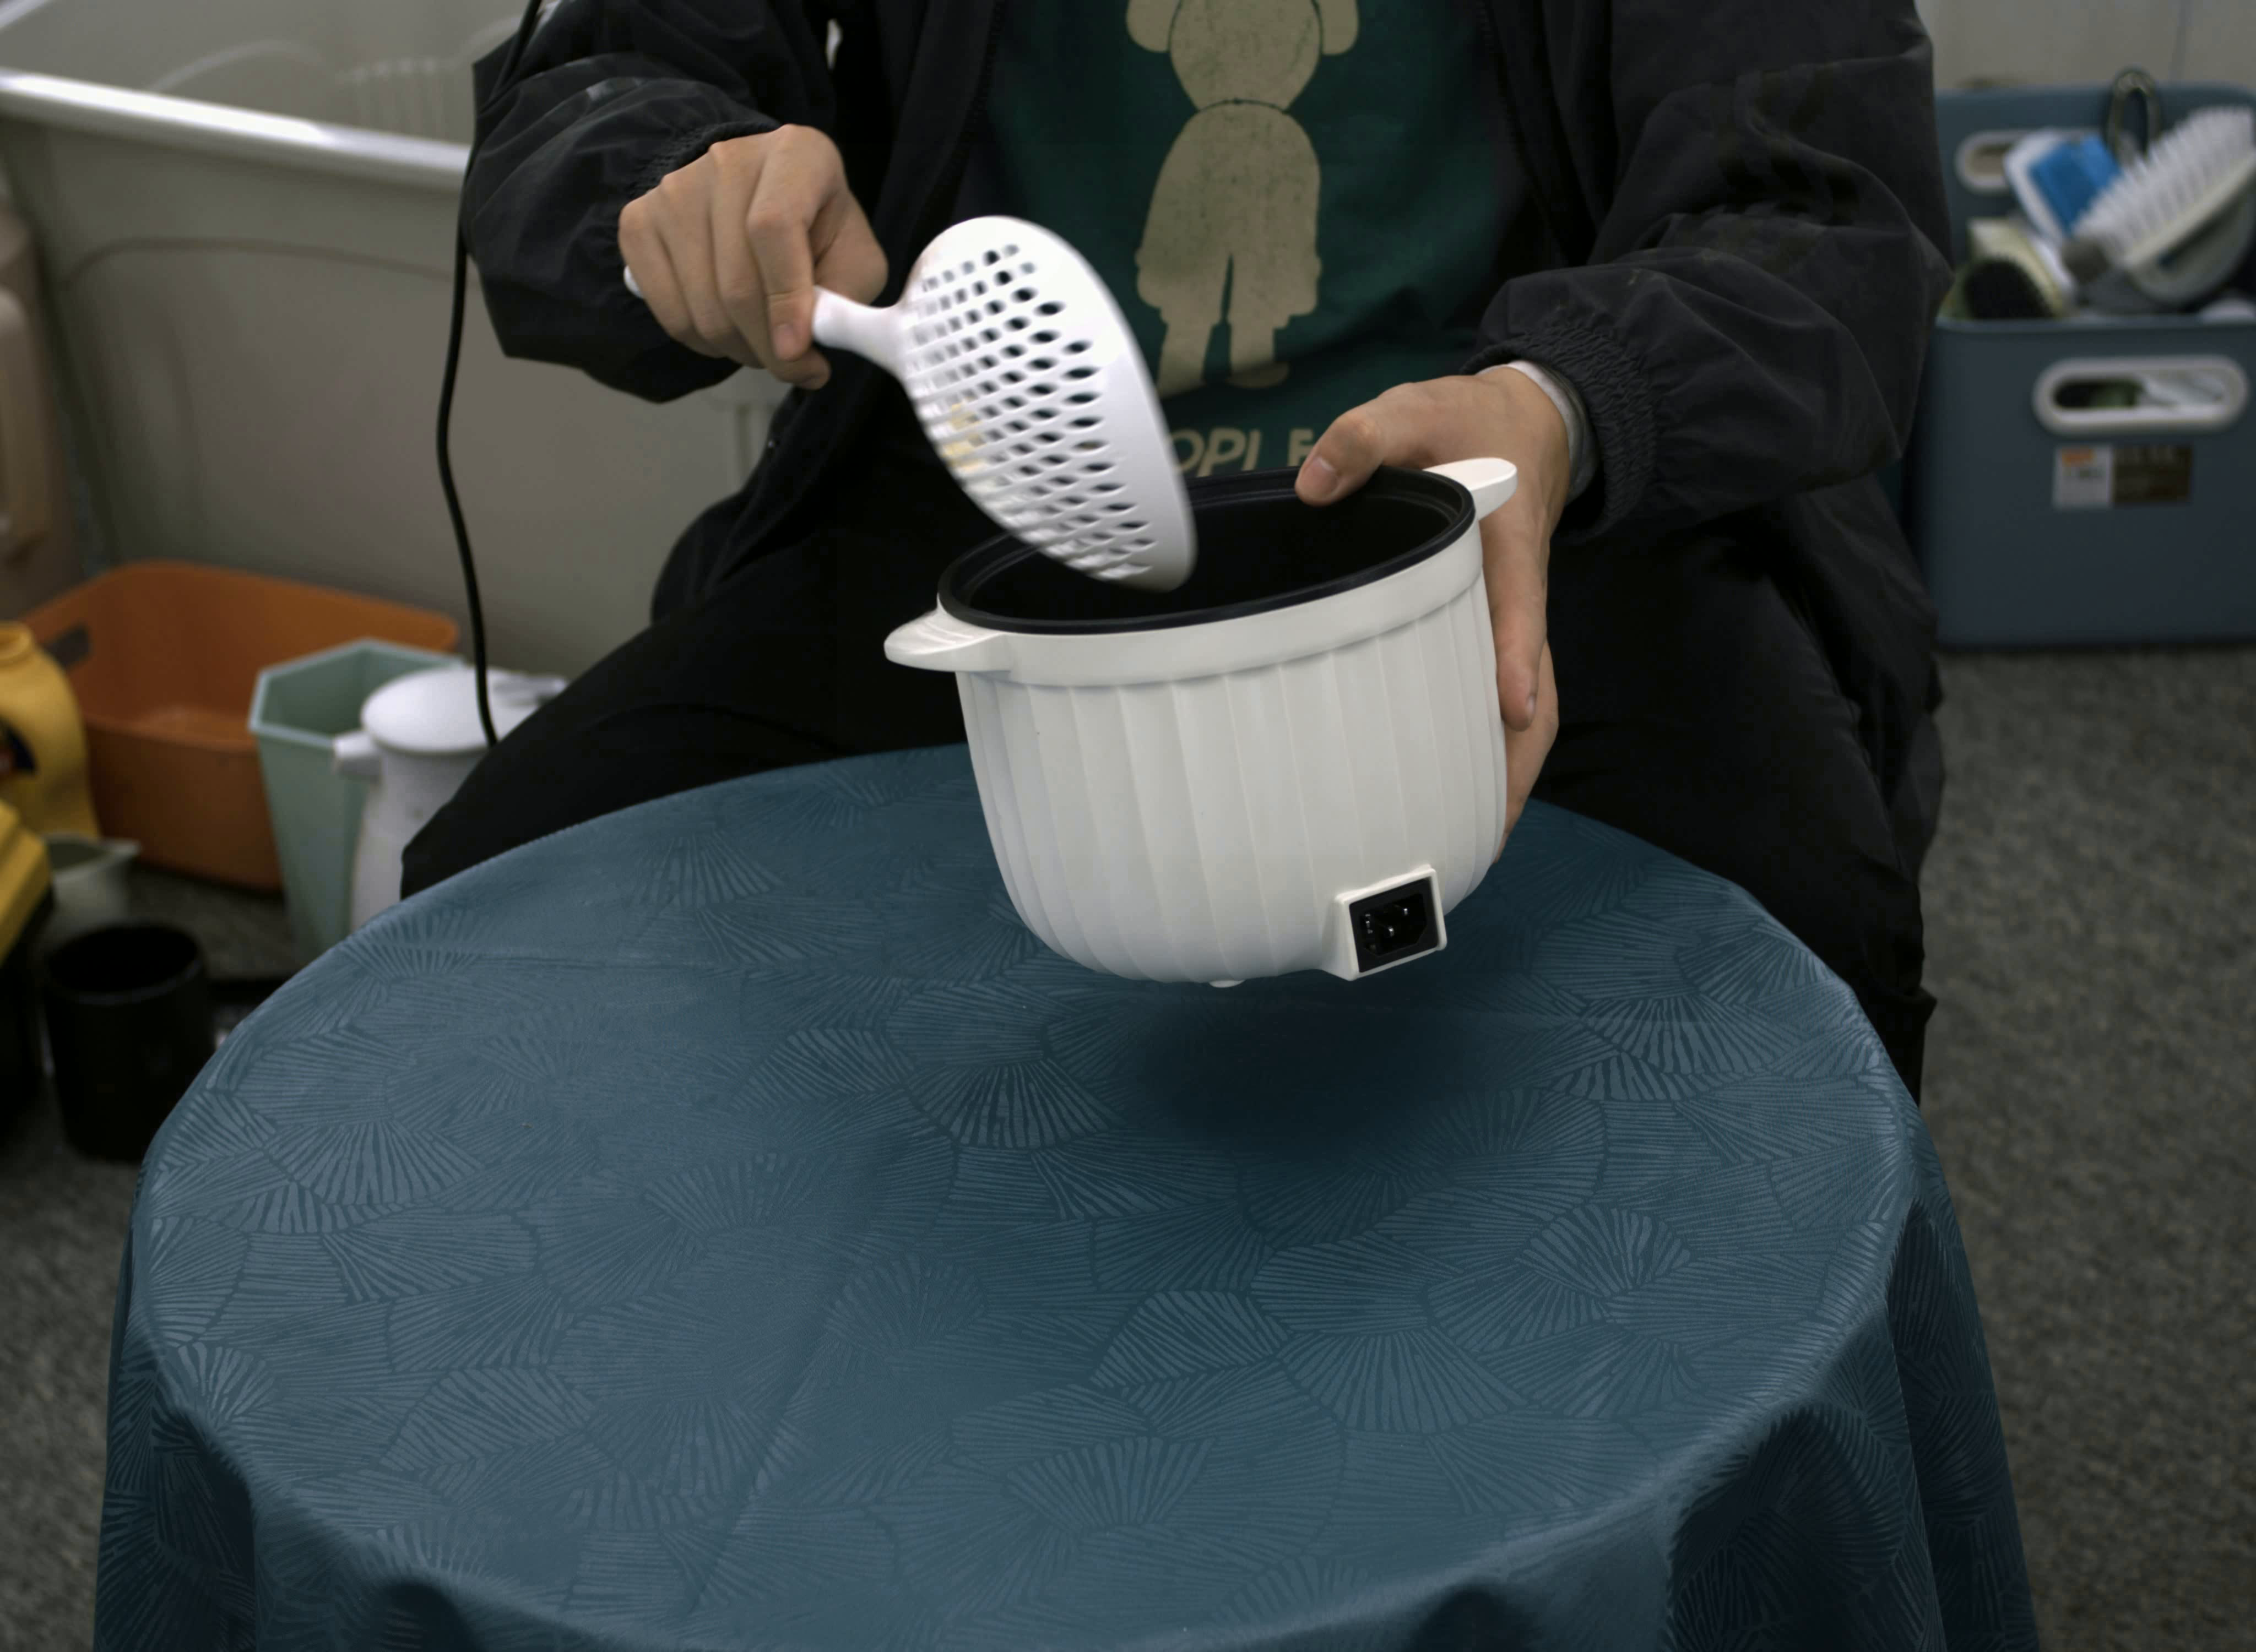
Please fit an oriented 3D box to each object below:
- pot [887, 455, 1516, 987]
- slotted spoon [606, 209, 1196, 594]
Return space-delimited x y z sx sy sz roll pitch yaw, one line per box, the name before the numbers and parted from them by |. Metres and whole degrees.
pot | 0.033 -0.033 1.884 0.242 0.142 0.190 -17 21 -27
slotted spoon | -0.086 -0.160 1.922 0.050 0.135 0.348 -28 27 -19
